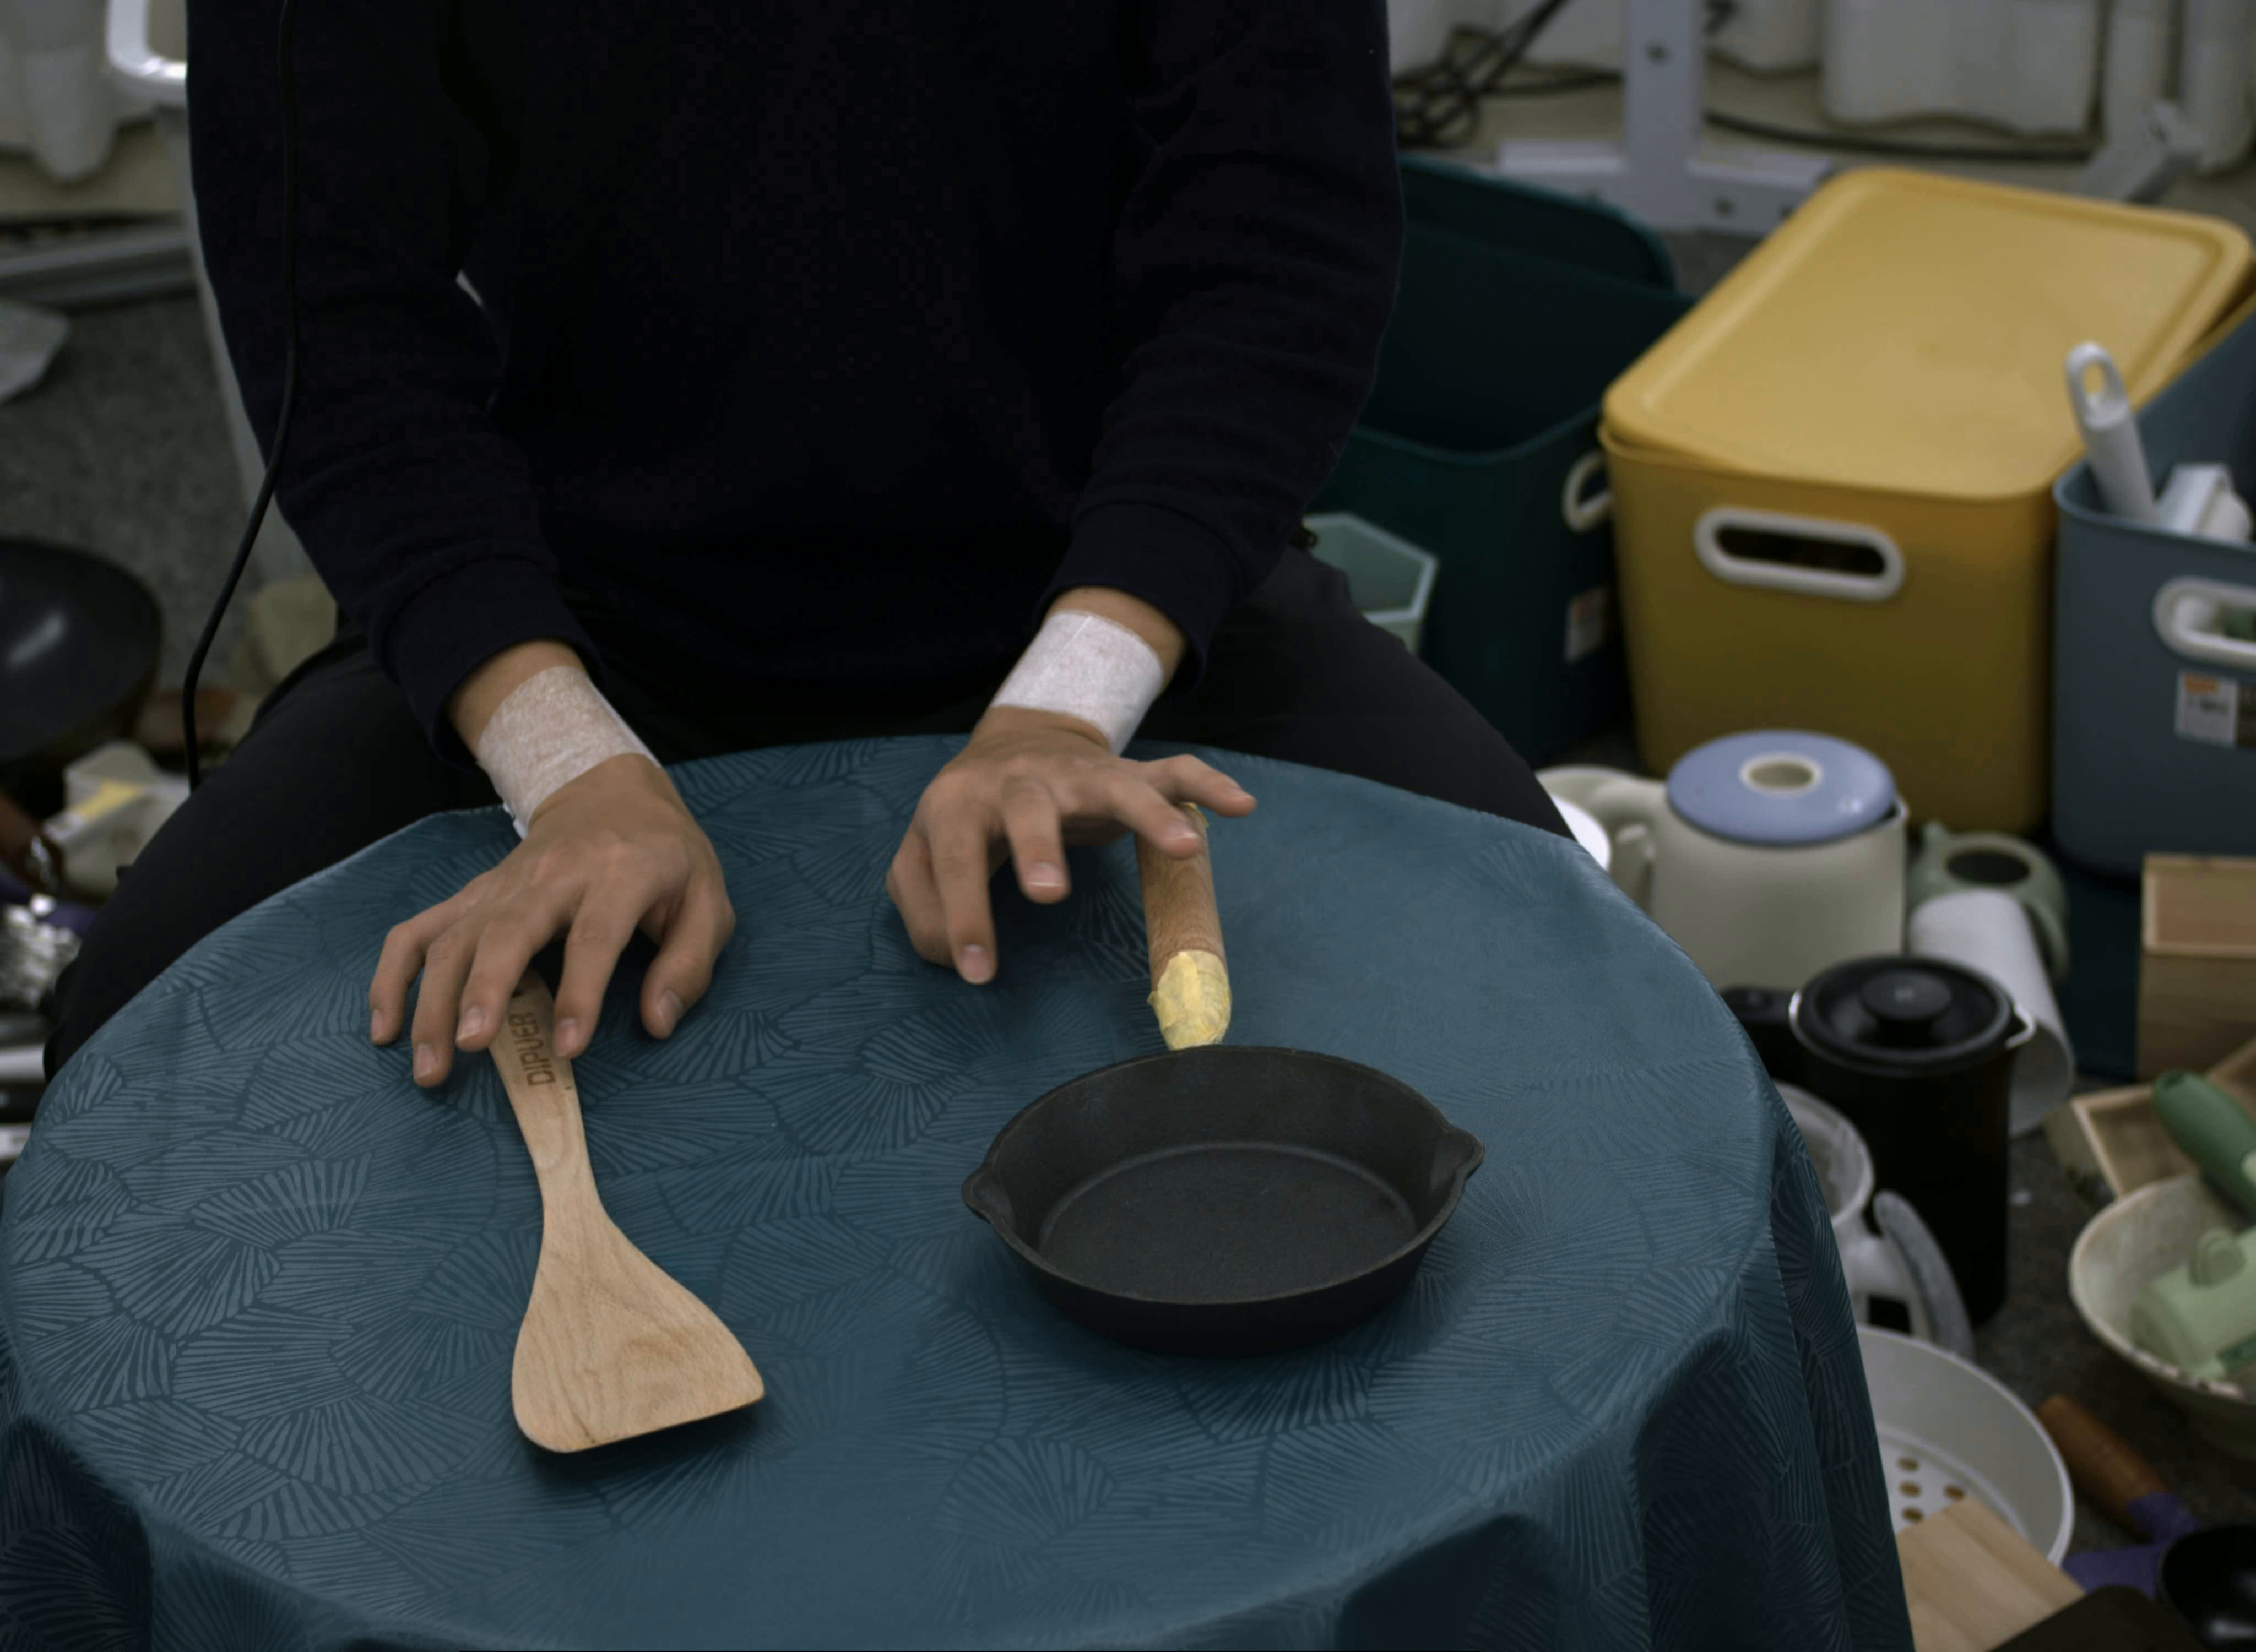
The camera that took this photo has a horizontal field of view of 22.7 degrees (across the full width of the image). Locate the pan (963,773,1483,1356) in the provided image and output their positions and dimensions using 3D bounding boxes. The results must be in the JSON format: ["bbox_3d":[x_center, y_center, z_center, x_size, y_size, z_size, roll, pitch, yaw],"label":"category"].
[{"bbox_3d":[0.027,0.077,1.891,0.168,0.049,0.329,-4,29,-1],"label":"pan"}]

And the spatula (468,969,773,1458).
[{"bbox_3d":[-0.183,0.122,1.862,0.080,0.016,0.331,-8,28,-12],"label":"spatula"}]
